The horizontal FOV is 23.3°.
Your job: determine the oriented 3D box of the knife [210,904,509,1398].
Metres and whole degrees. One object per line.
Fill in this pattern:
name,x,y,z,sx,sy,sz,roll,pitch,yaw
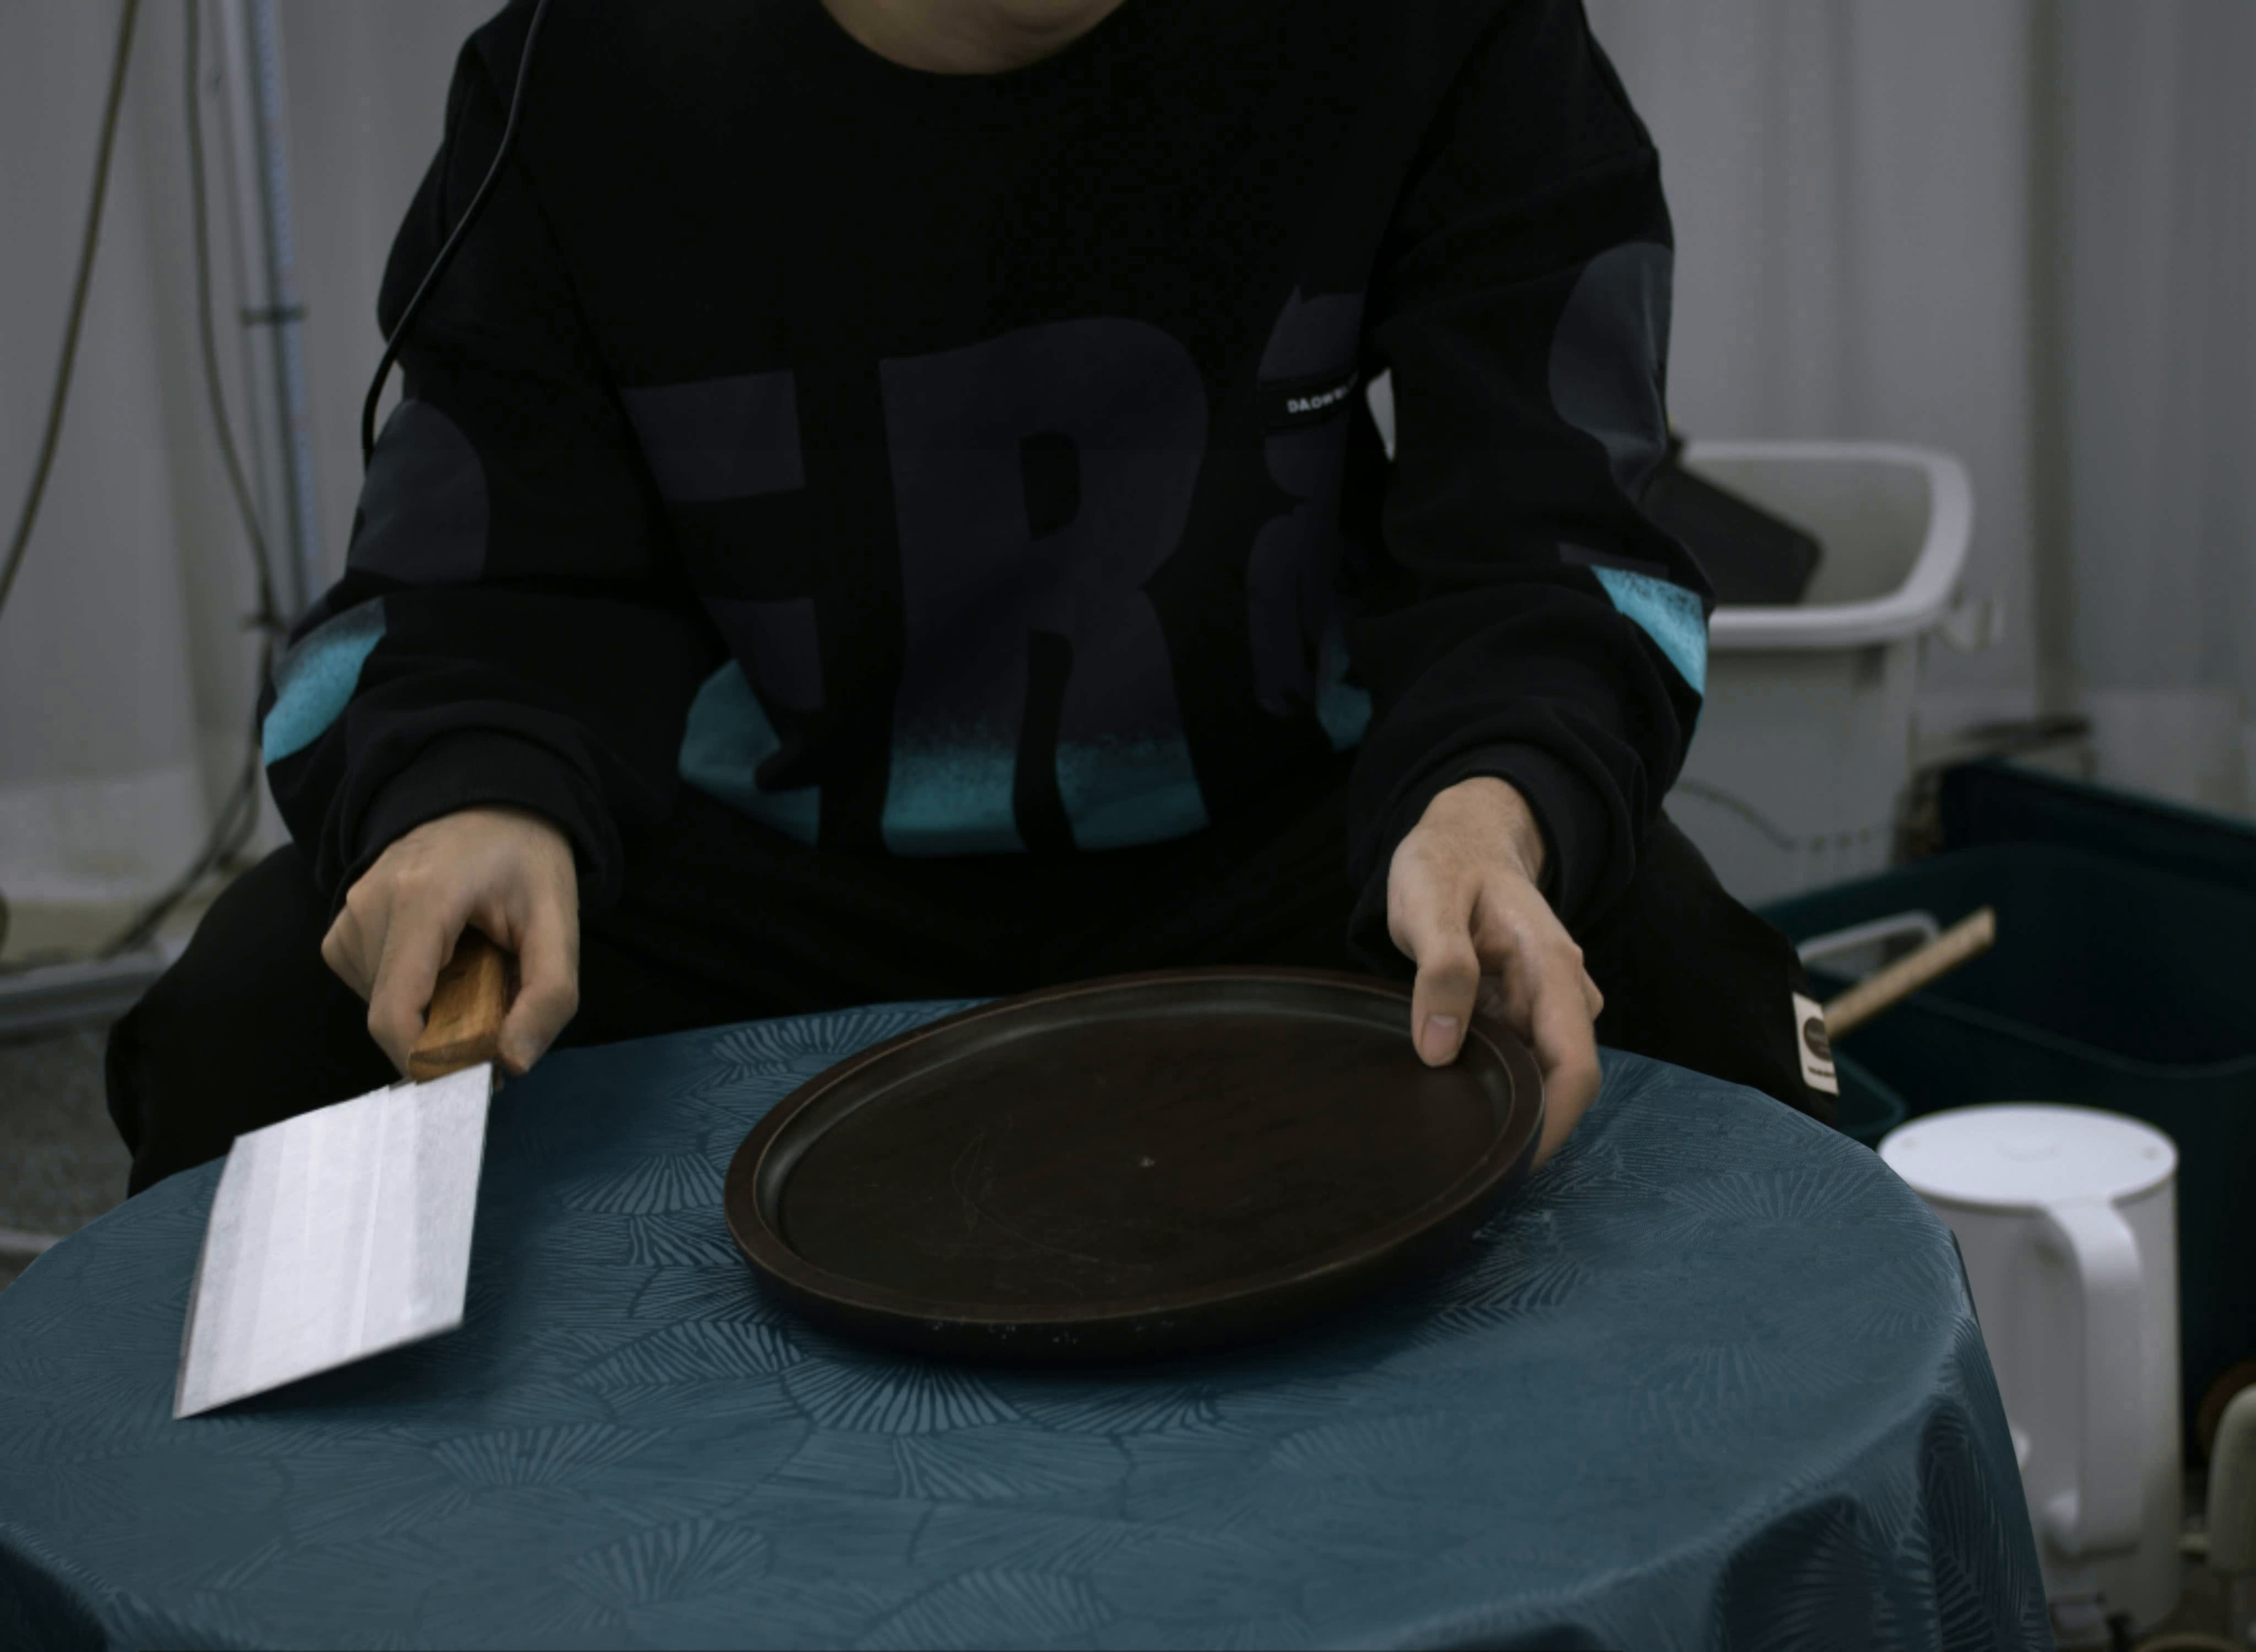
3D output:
knife,-0.239,0.100,1.703,0.092,0.021,0.309,-18,22,4

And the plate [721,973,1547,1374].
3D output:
plate,0.002,0.102,1.660,0.254,0.029,0.257,-8,22,3
